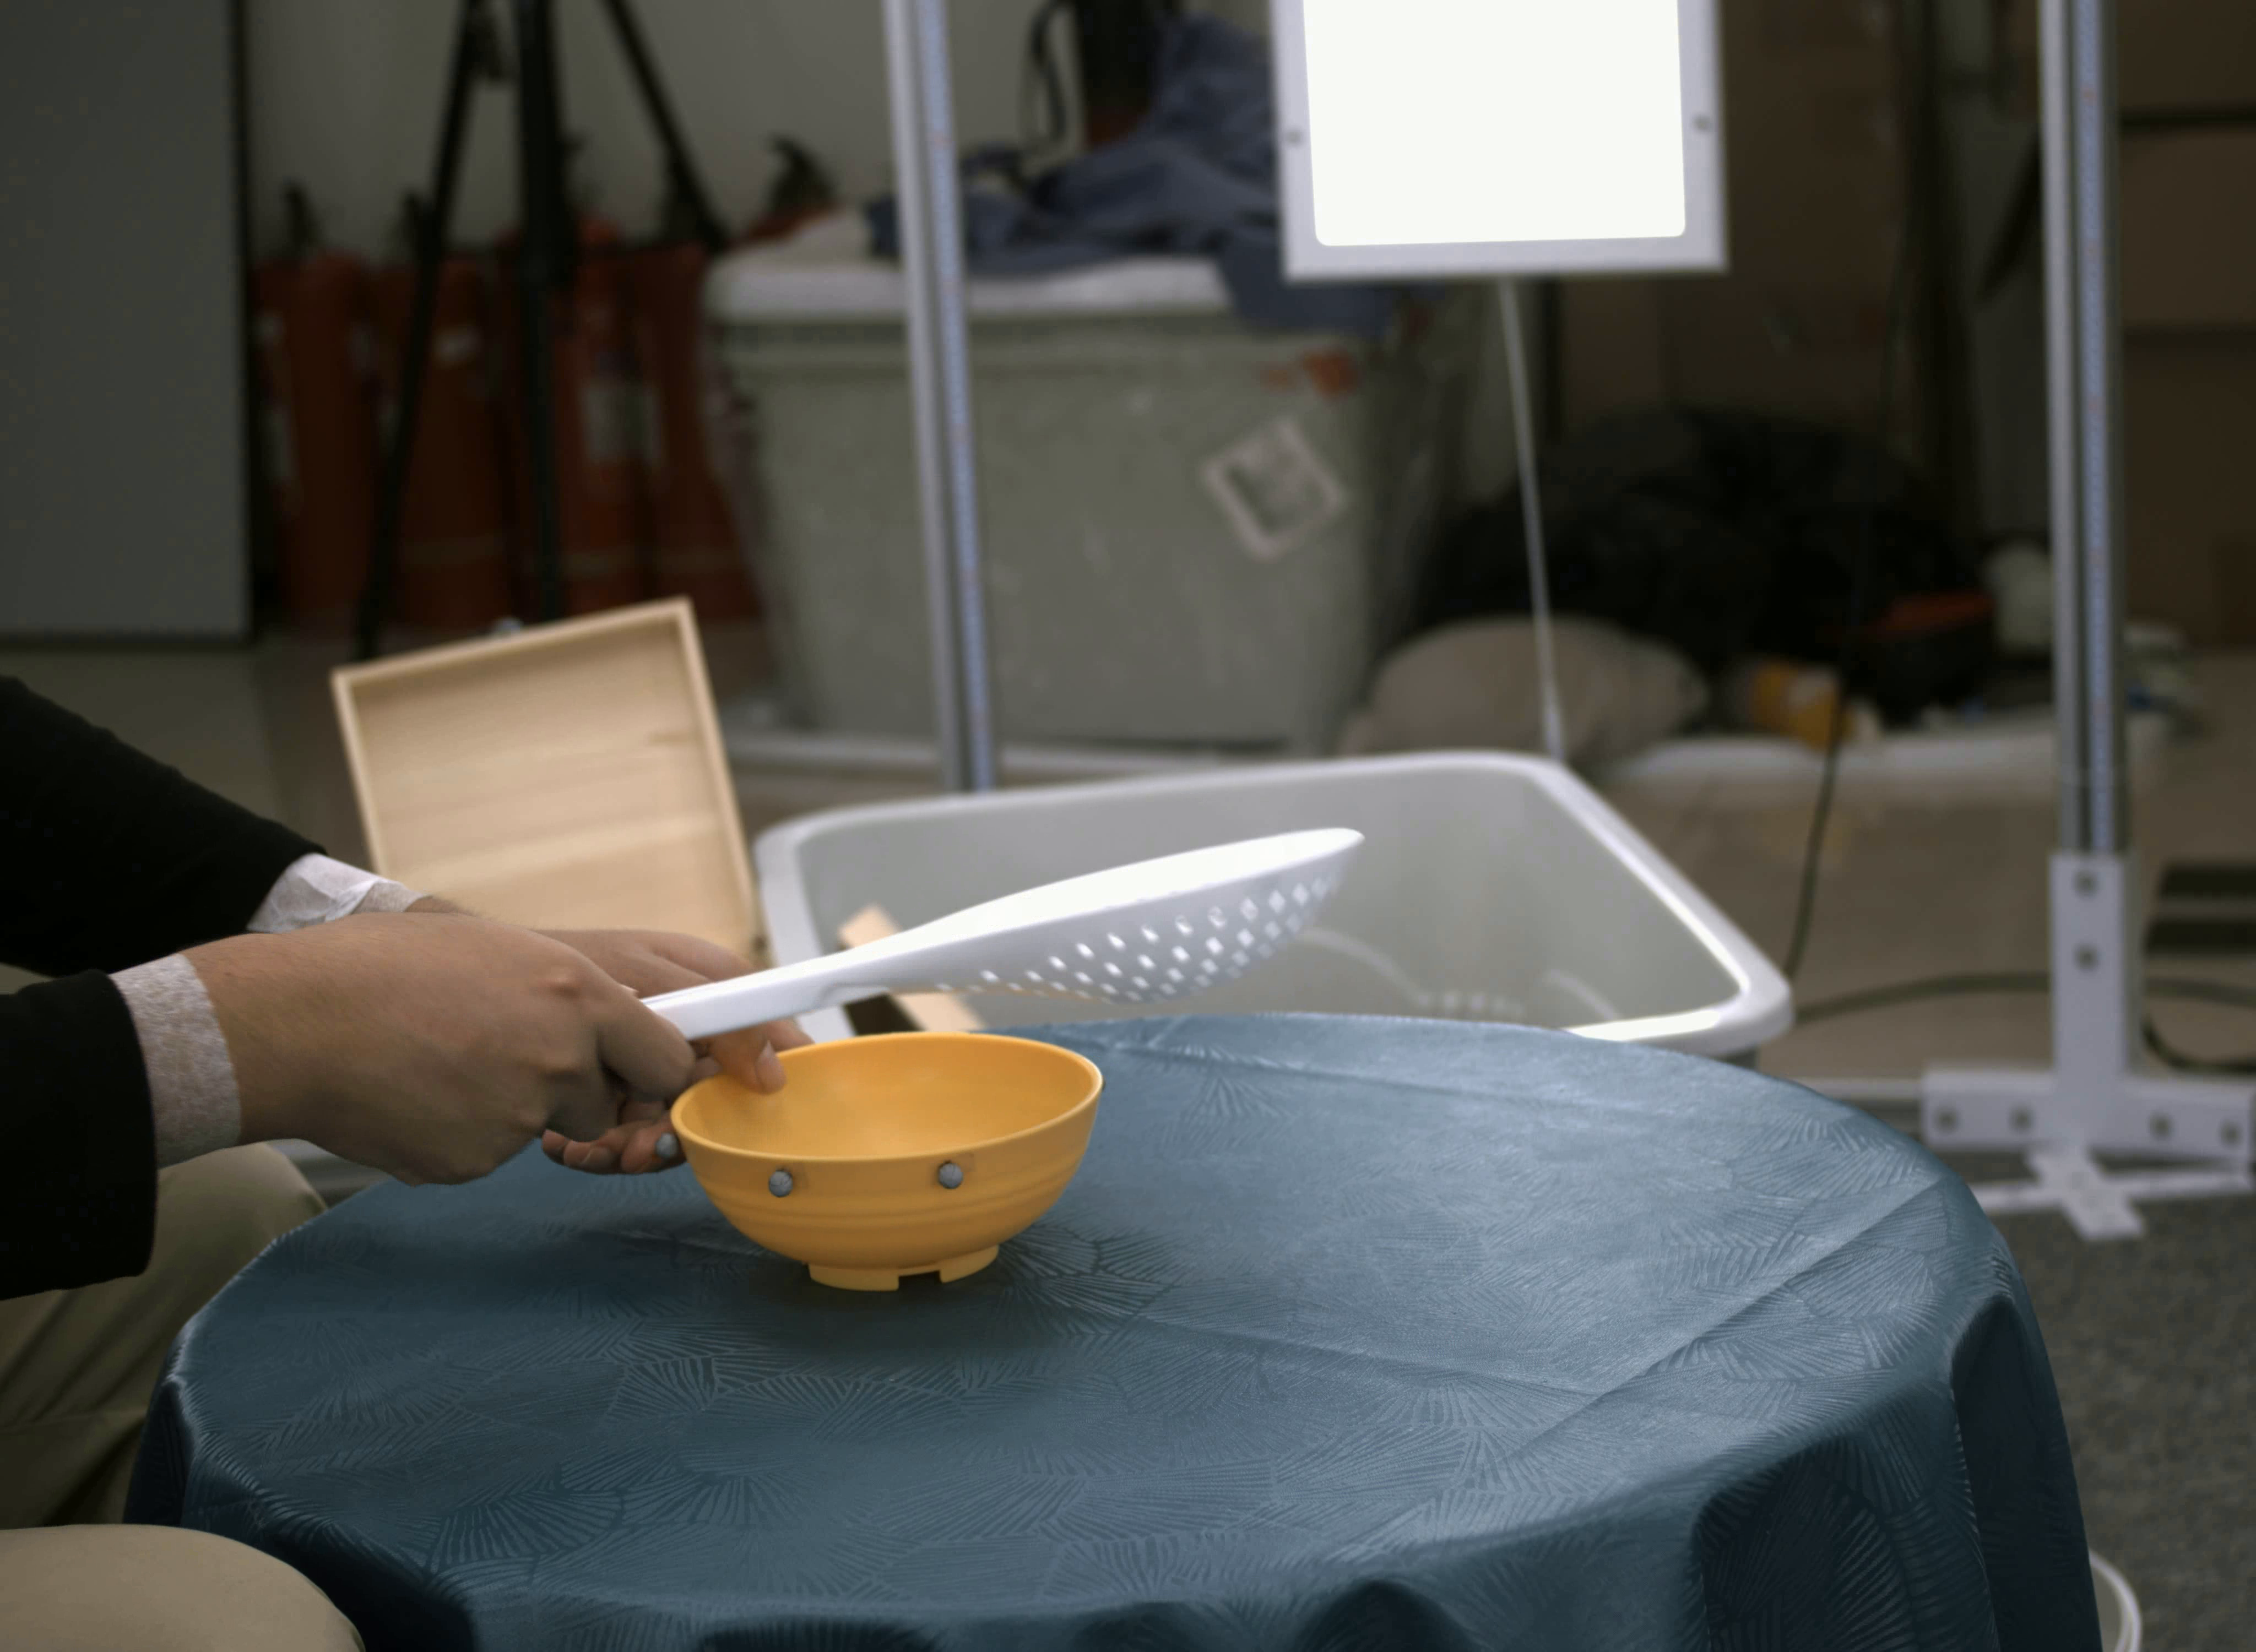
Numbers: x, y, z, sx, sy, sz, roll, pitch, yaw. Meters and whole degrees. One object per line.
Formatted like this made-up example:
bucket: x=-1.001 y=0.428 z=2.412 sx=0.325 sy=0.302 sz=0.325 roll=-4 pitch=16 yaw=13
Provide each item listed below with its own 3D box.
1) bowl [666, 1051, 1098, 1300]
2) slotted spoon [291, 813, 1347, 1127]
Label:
bowl: x=-0.080 y=0.120 z=1.842 sx=0.145 sy=0.060 sz=0.145 roll=-4 pitch=12 yaw=-1
slotted spoon: x=-0.093 y=0.045 z=1.744 sx=0.344 sy=0.046 sz=0.137 roll=-9 pitch=2 yaw=-15
